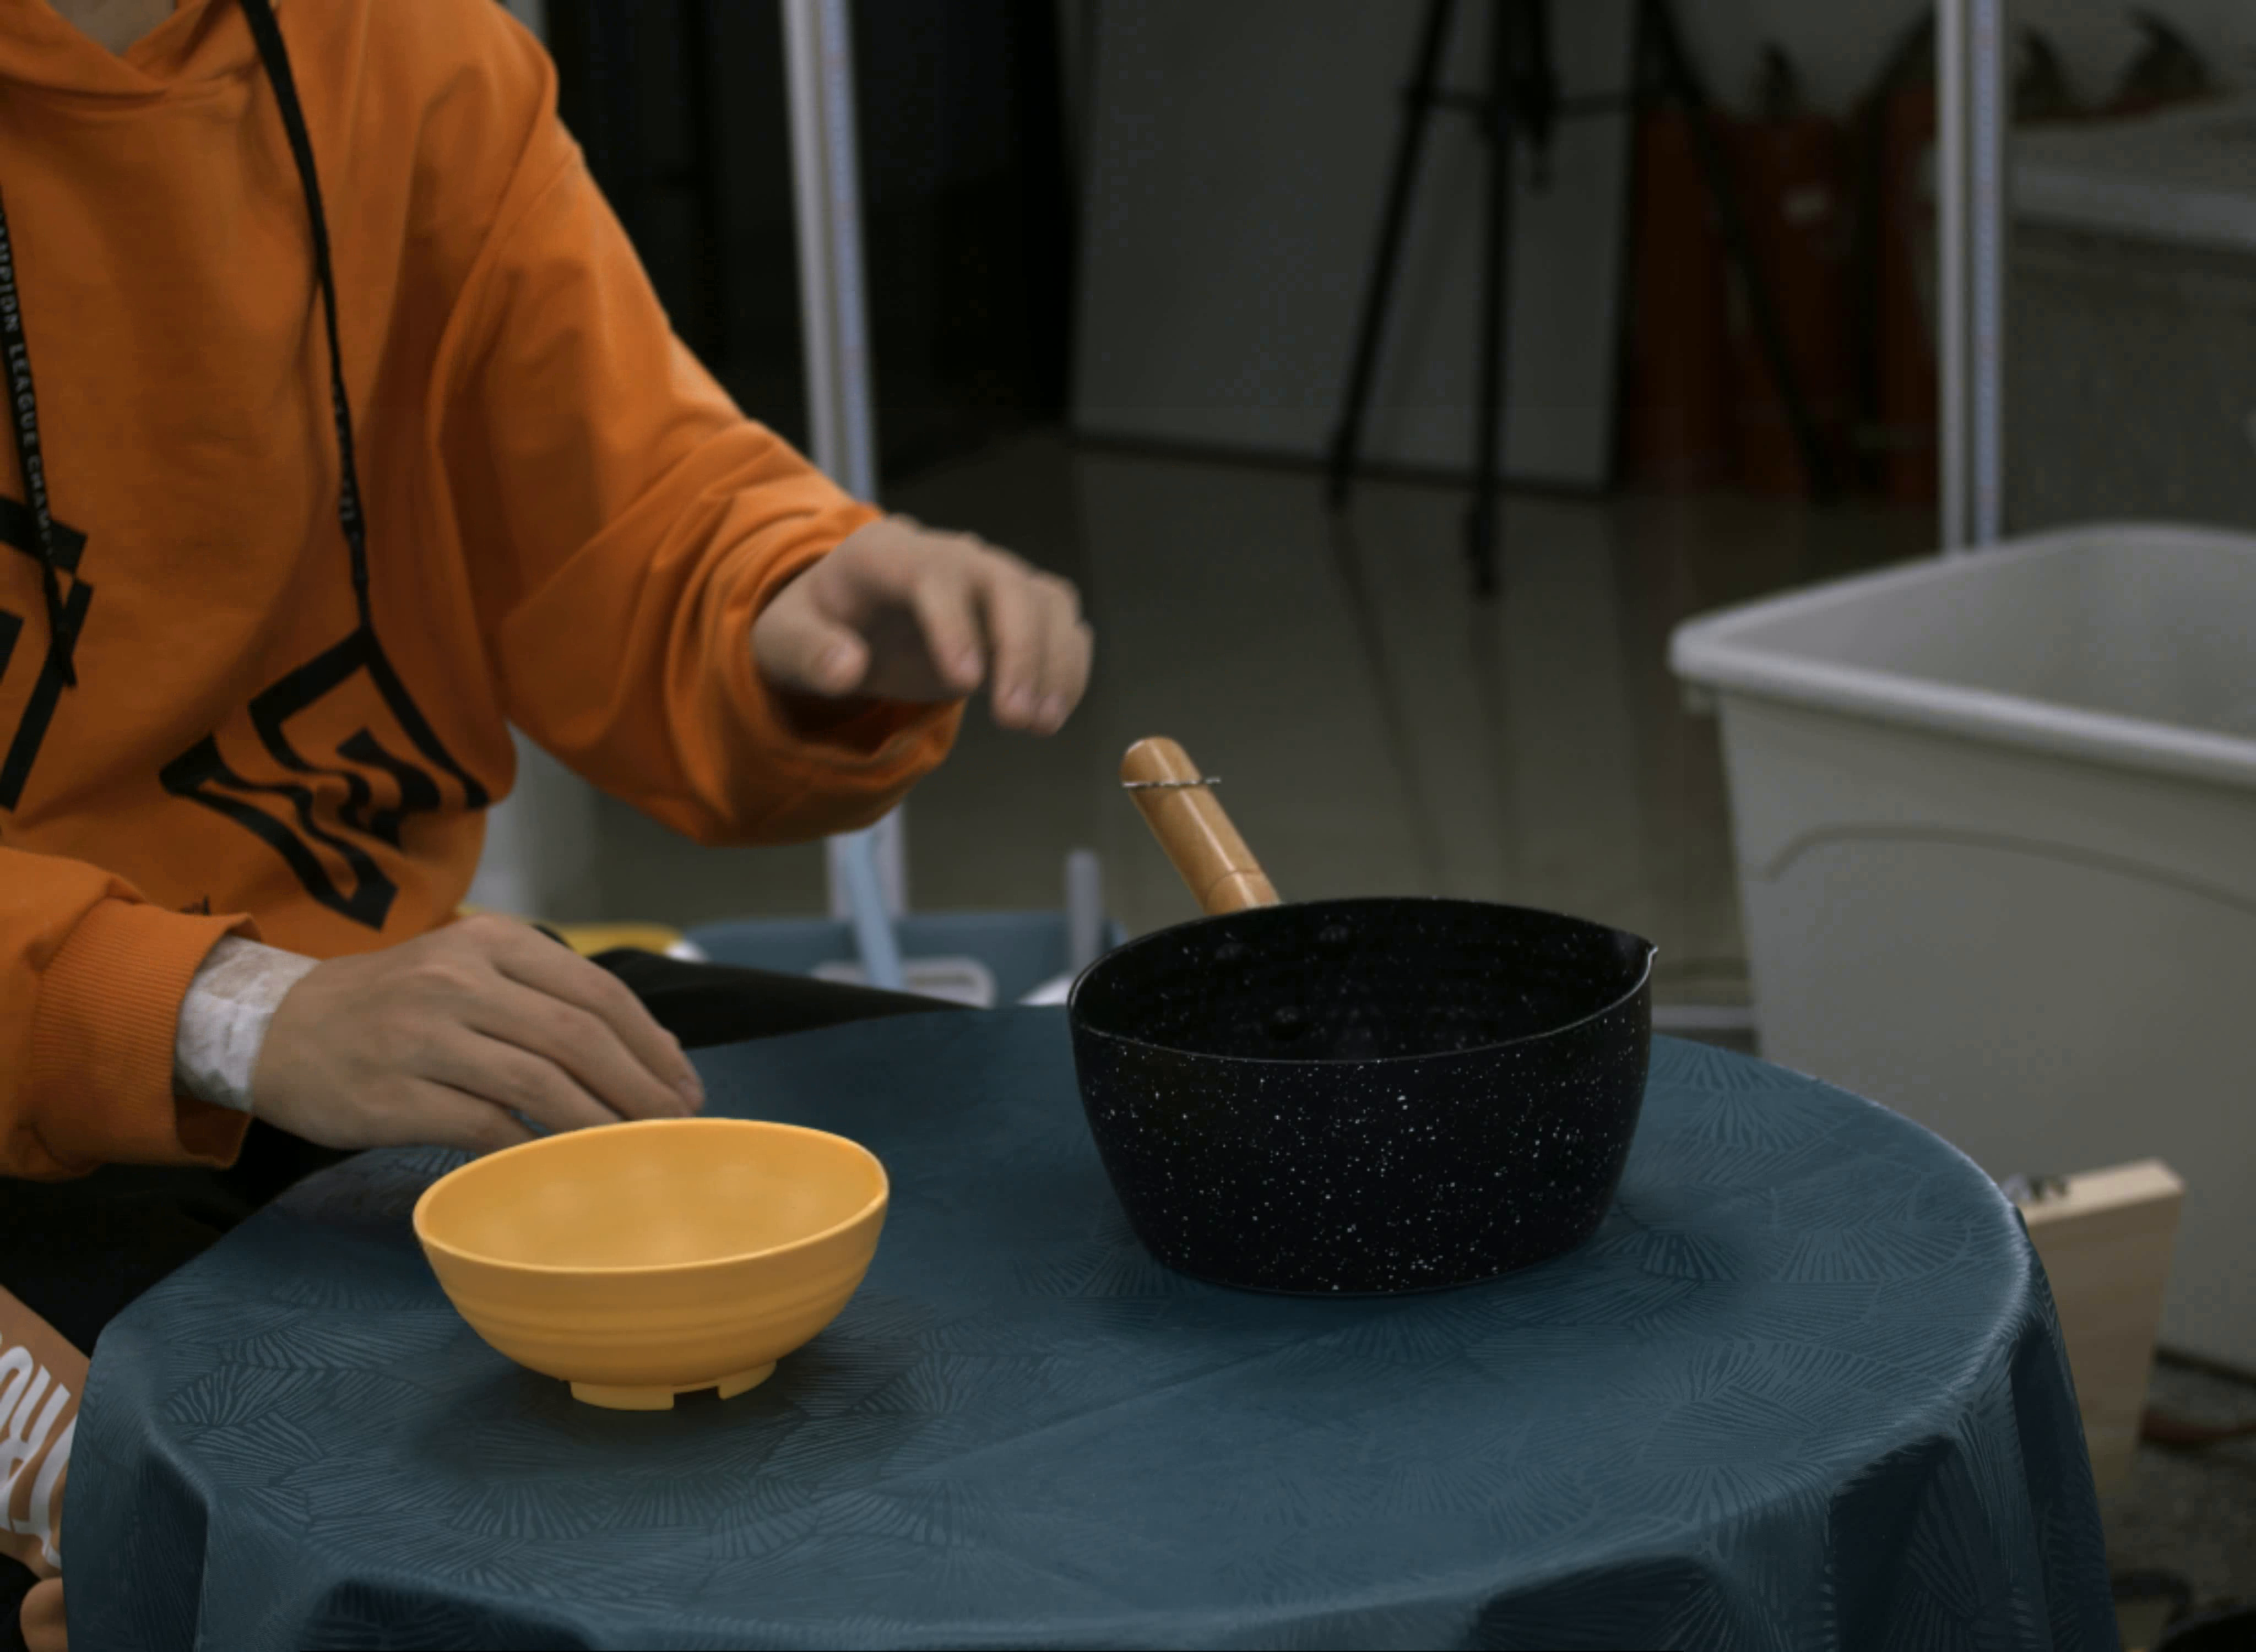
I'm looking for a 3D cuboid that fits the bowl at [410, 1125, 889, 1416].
[{"bbox_3d":[-0.142,0.138,1.622,0.143,0.061,0.145,-3,13,0],"label":"bowl"}]

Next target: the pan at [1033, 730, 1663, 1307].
[{"bbox_3d":[0.053,0.058,1.784,0.203,0.109,0.345,-9,16,-14],"label":"pan"}]
